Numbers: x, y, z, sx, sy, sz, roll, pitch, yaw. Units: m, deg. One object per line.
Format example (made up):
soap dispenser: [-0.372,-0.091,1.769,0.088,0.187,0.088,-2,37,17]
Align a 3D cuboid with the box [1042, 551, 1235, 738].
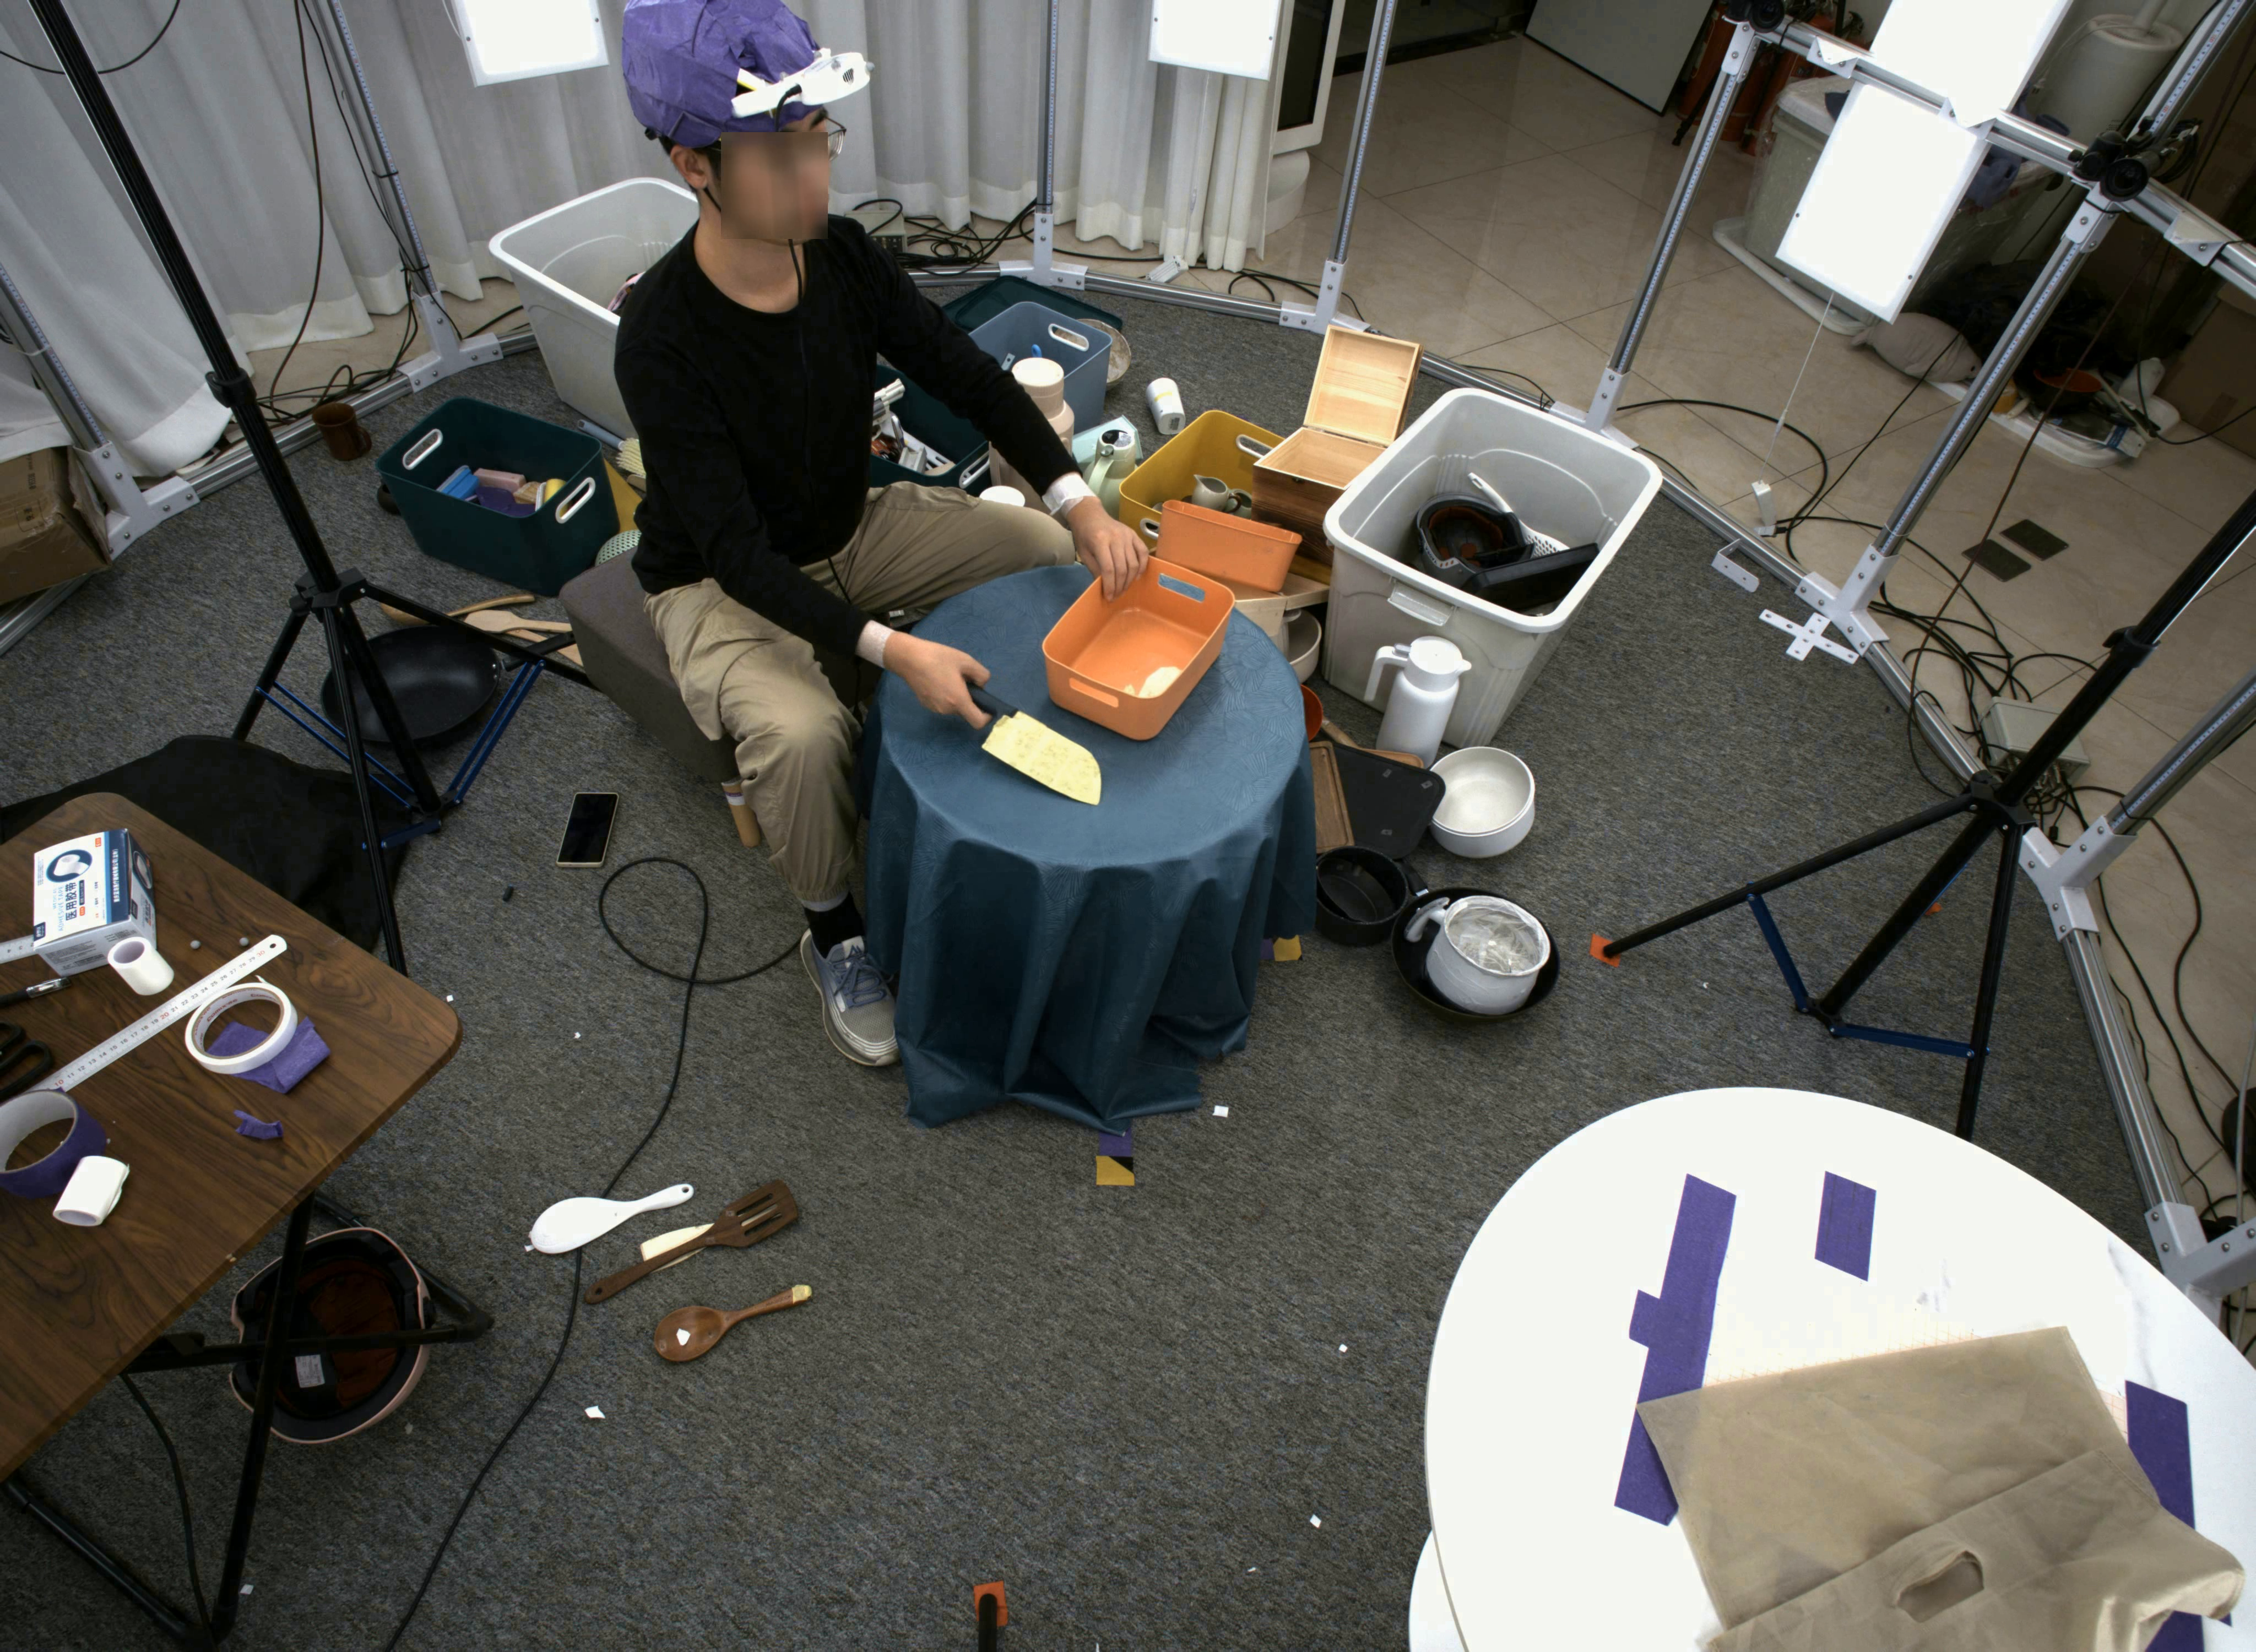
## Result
box: [0.014,-0.256,1.826,0.201,0.100,0.277,25,52,16]

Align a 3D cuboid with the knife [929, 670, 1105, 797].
knife: [-0.154,-0.124,1.722,0.291,0.027,0.082,33,66,10]
